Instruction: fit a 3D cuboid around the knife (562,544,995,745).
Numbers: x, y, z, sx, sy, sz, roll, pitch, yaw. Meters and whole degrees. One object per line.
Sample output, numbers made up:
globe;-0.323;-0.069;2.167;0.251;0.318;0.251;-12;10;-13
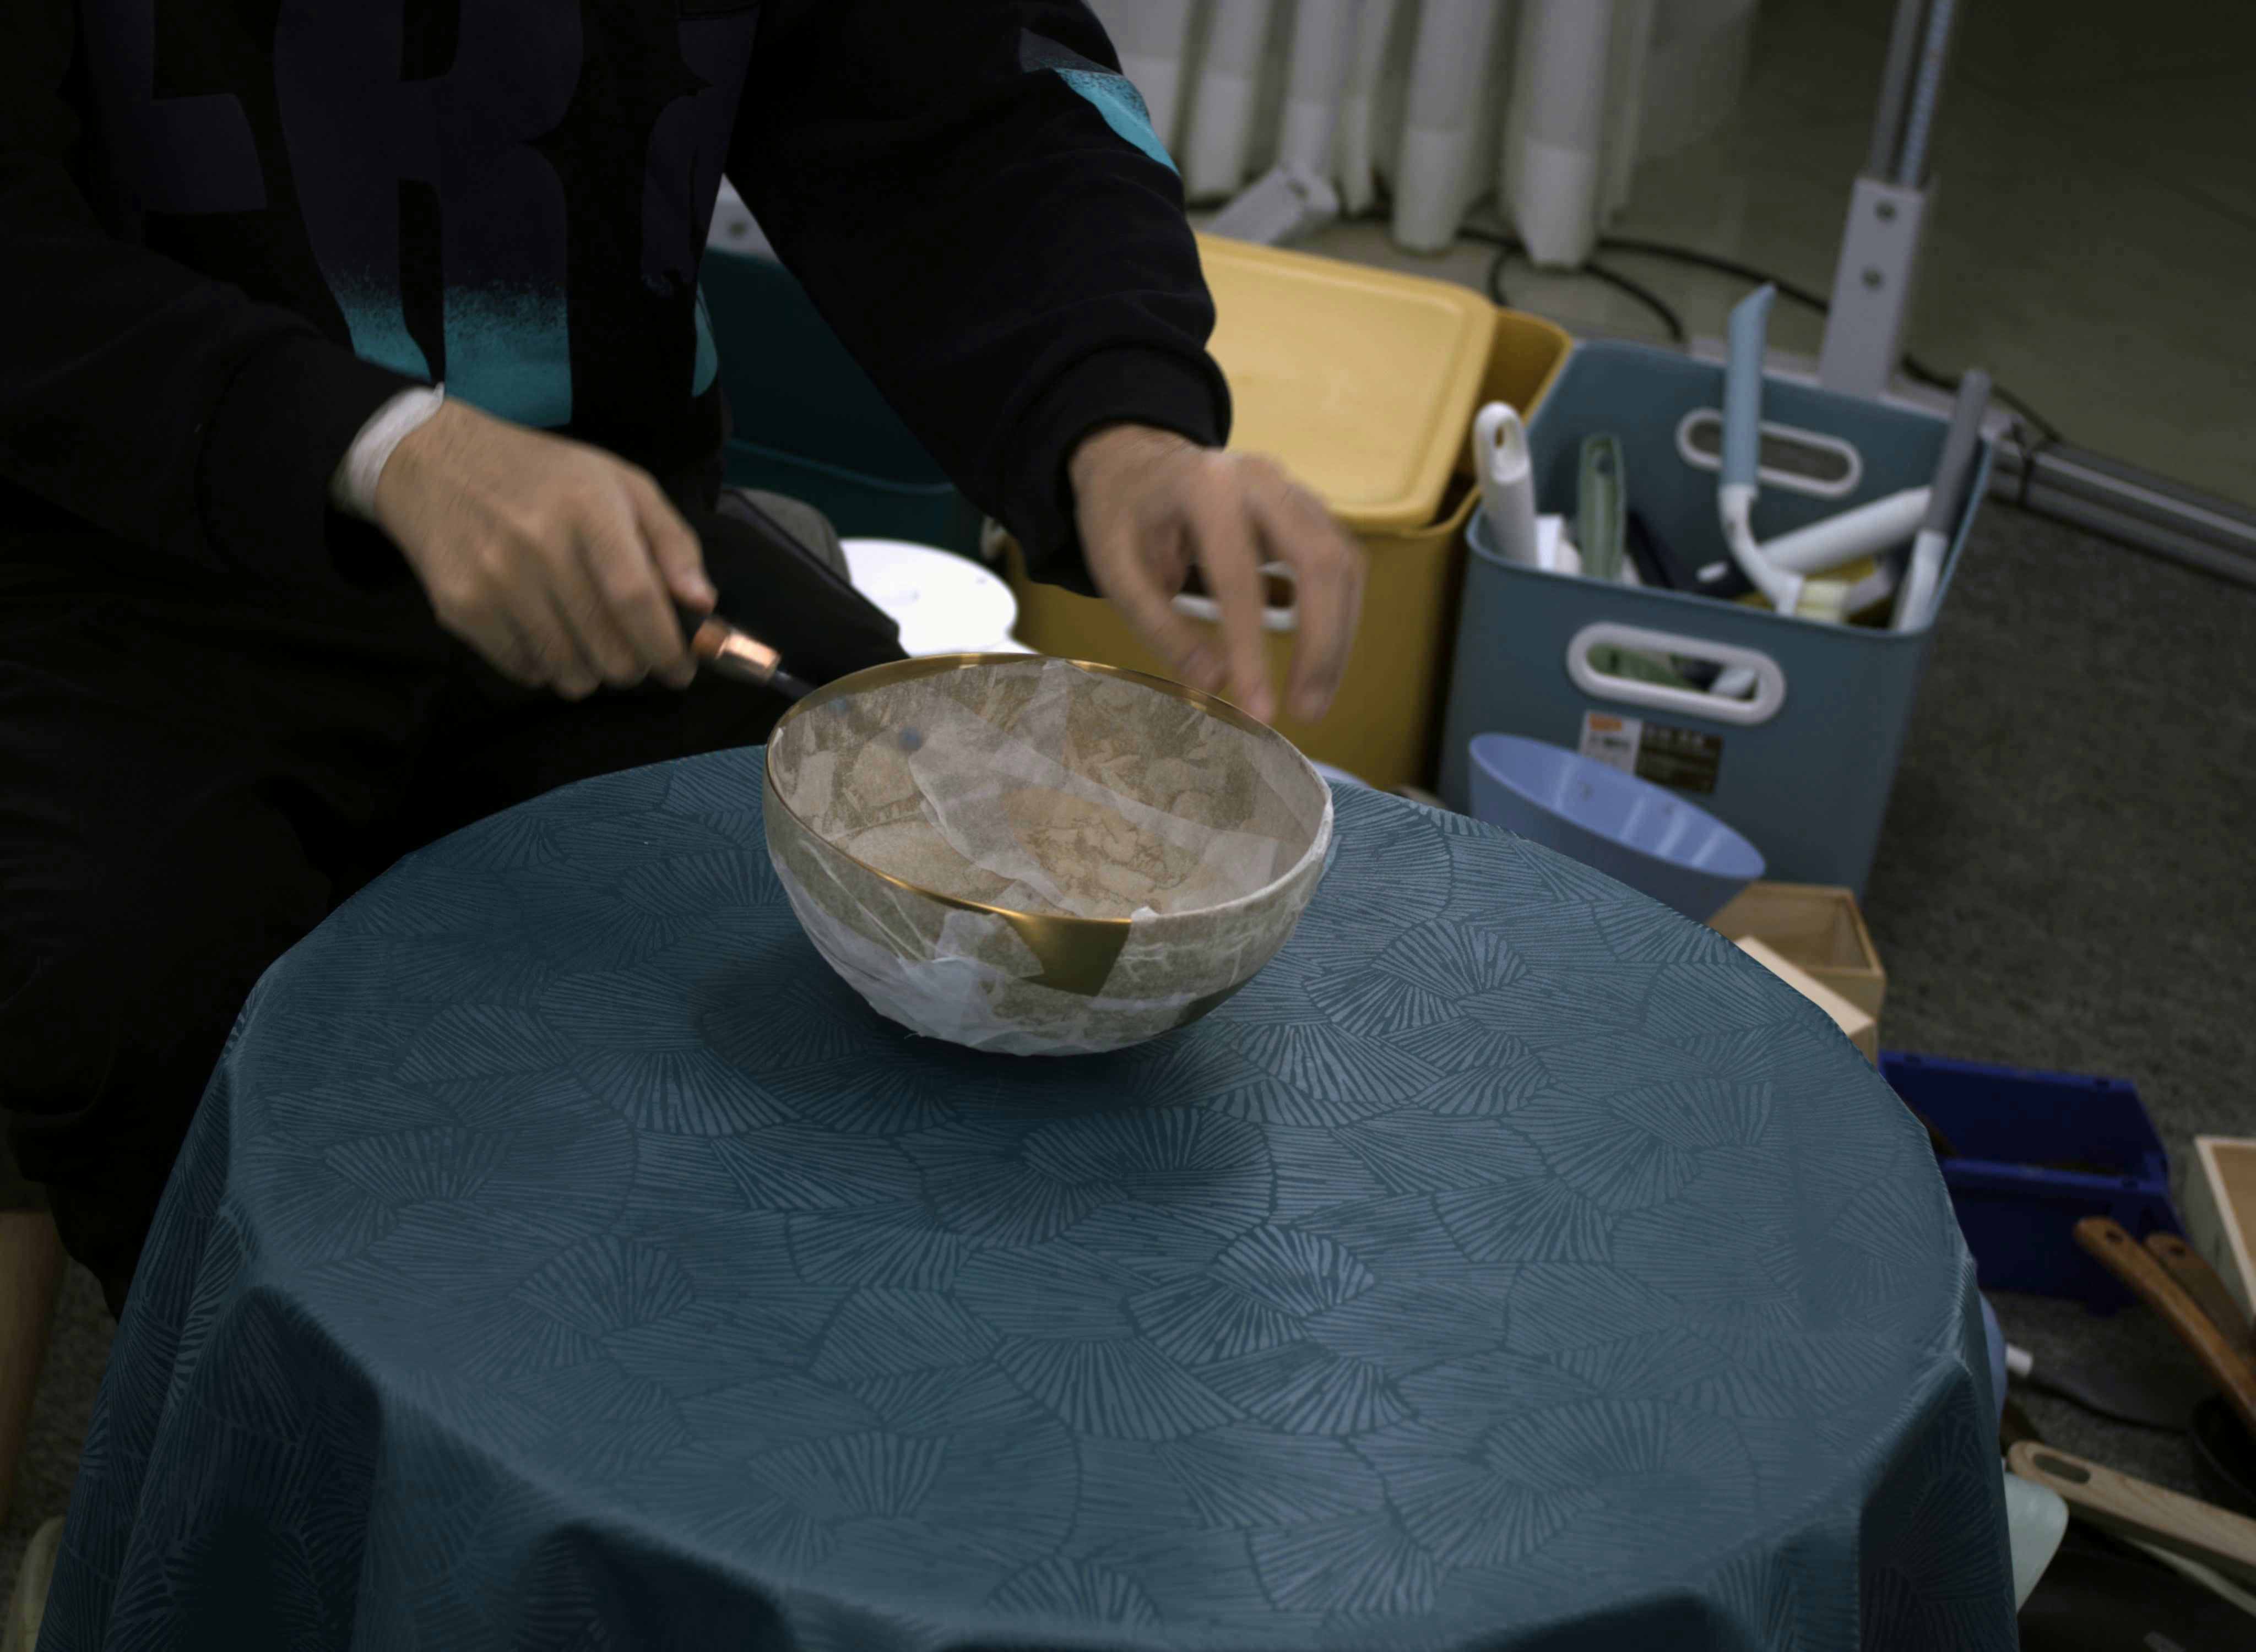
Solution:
knife;-0.120;-0.060;1.780;0.026;0.017;0.227;13;8;-44

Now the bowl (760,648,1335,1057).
bowl;-0.034;0.020;1.893;0.214;0.094;0.216;4;28;-3
